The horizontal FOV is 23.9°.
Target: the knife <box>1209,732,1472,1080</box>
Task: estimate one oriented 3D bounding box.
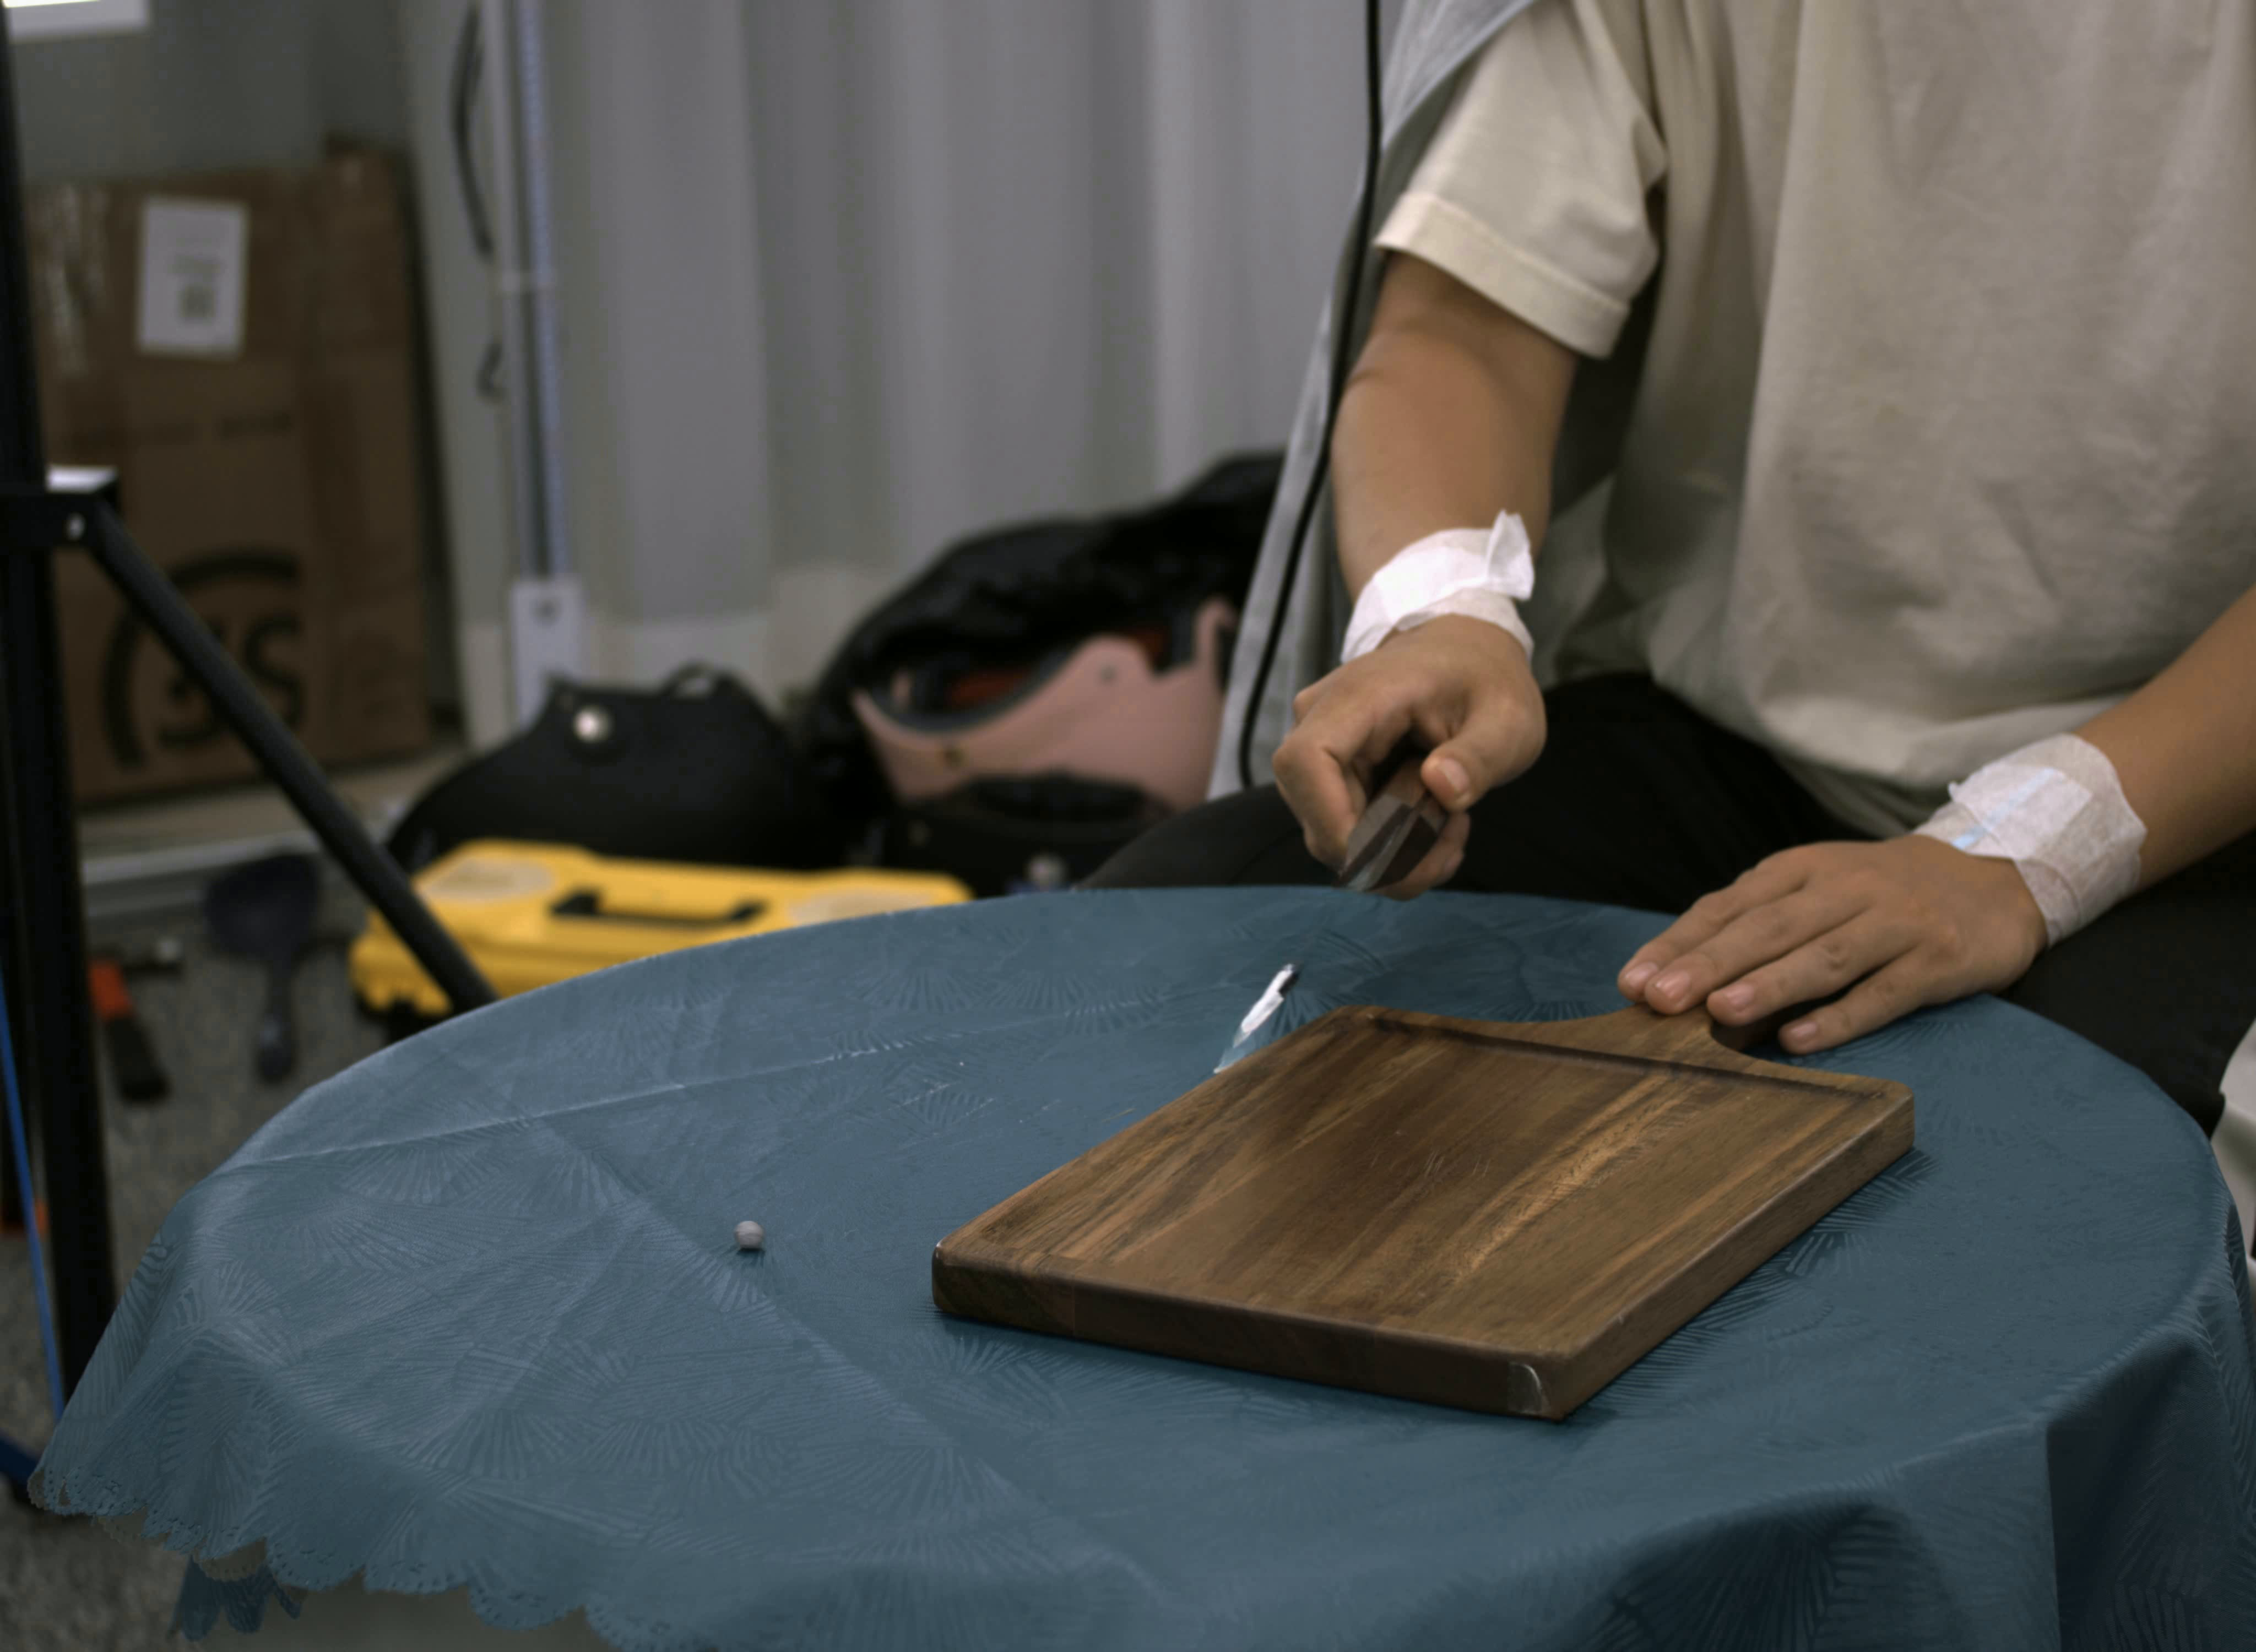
[{"bbox_3d":[0.065,0.023,1.623,0.024,0.068,0.297,40,17,1],"label":"knife"}]

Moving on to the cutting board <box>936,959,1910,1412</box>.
[{"bbox_3d":[0.114,0.095,1.554,0.204,0.023,0.346,5,16,30],"label":"cutting board"}]
